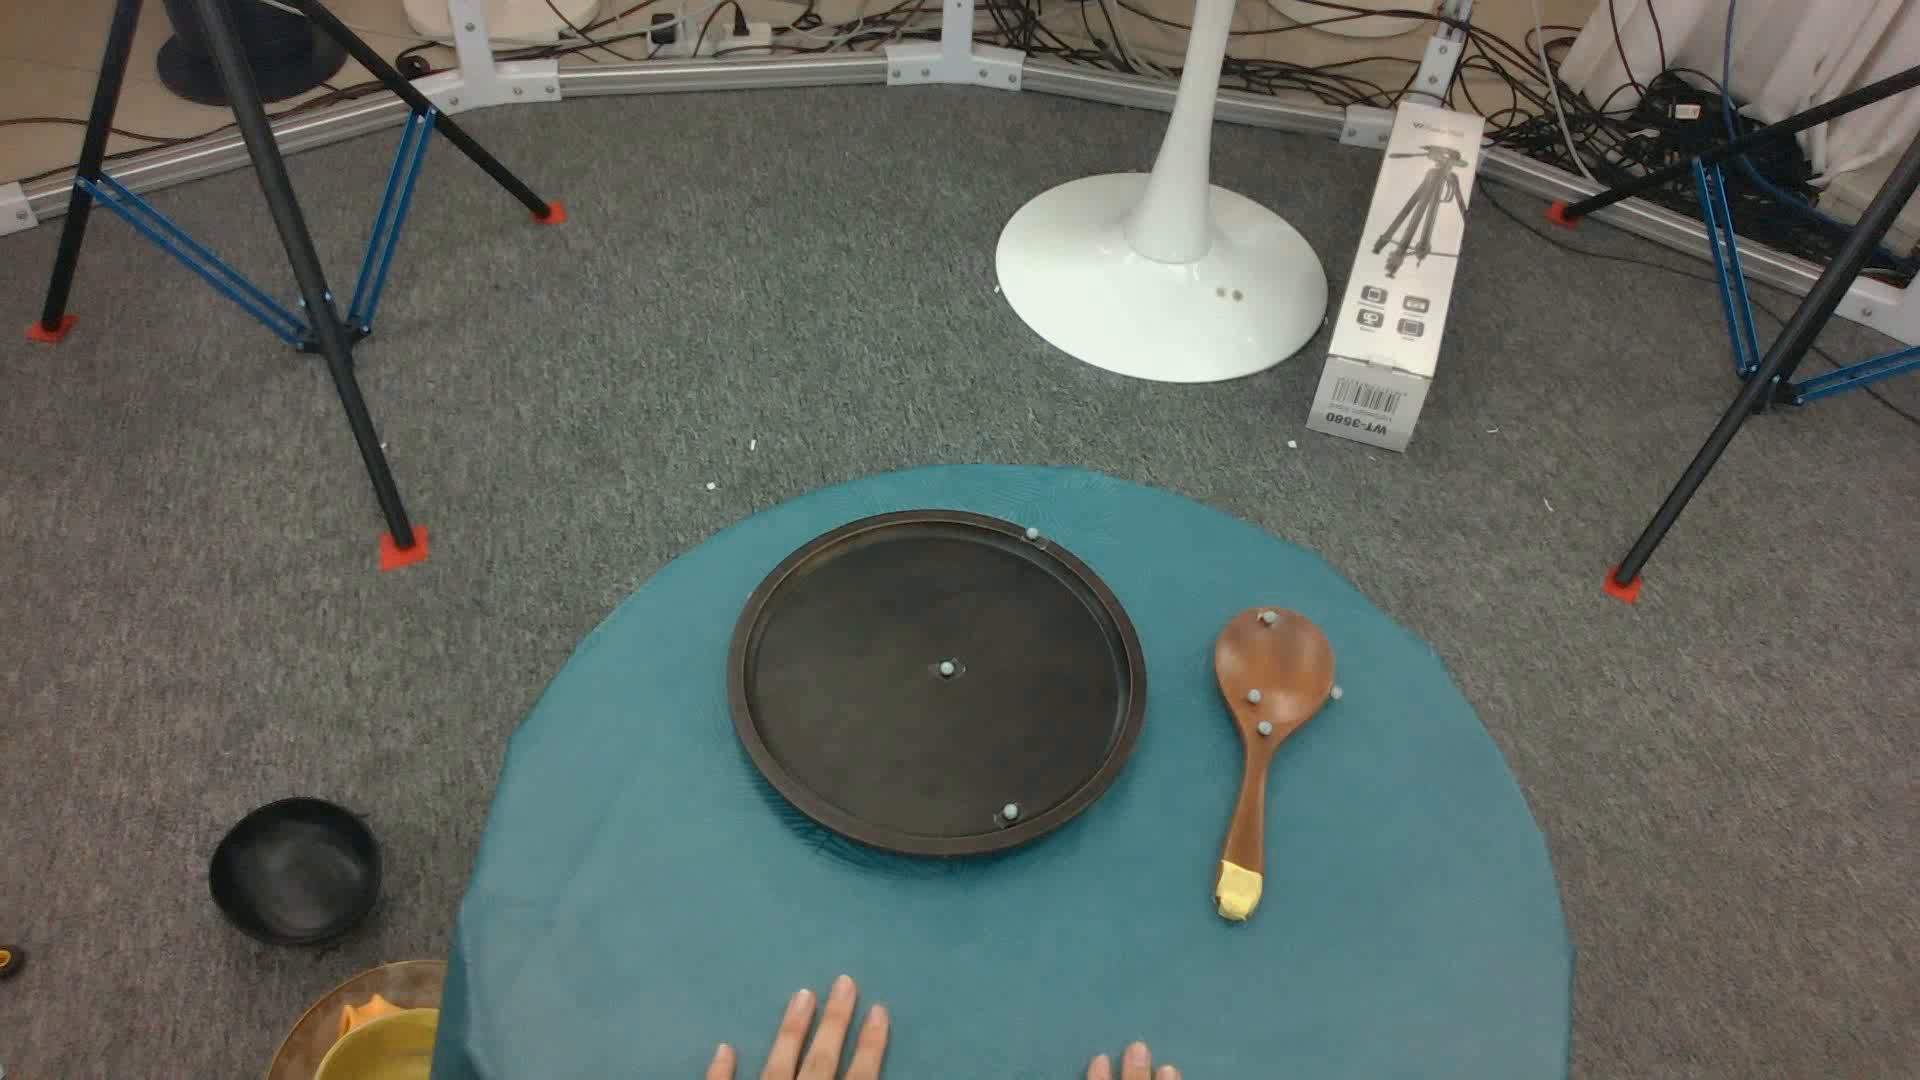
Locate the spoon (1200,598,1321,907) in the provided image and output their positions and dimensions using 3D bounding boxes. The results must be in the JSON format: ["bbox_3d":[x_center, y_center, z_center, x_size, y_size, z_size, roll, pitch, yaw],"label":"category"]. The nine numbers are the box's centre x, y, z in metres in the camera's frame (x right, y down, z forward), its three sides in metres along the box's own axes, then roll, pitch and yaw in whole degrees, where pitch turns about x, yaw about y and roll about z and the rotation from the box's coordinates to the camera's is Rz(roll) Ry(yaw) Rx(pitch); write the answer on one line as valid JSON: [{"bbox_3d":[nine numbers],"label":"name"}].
[{"bbox_3d":[0.169,0.119,0.812,0.075,0.017,0.217,14,49,6],"label":"spoon"}]

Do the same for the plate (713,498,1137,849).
[{"bbox_3d":[-0.020,0.074,0.829,0.255,0.029,0.256,3,48,-3],"label":"plate"}]
